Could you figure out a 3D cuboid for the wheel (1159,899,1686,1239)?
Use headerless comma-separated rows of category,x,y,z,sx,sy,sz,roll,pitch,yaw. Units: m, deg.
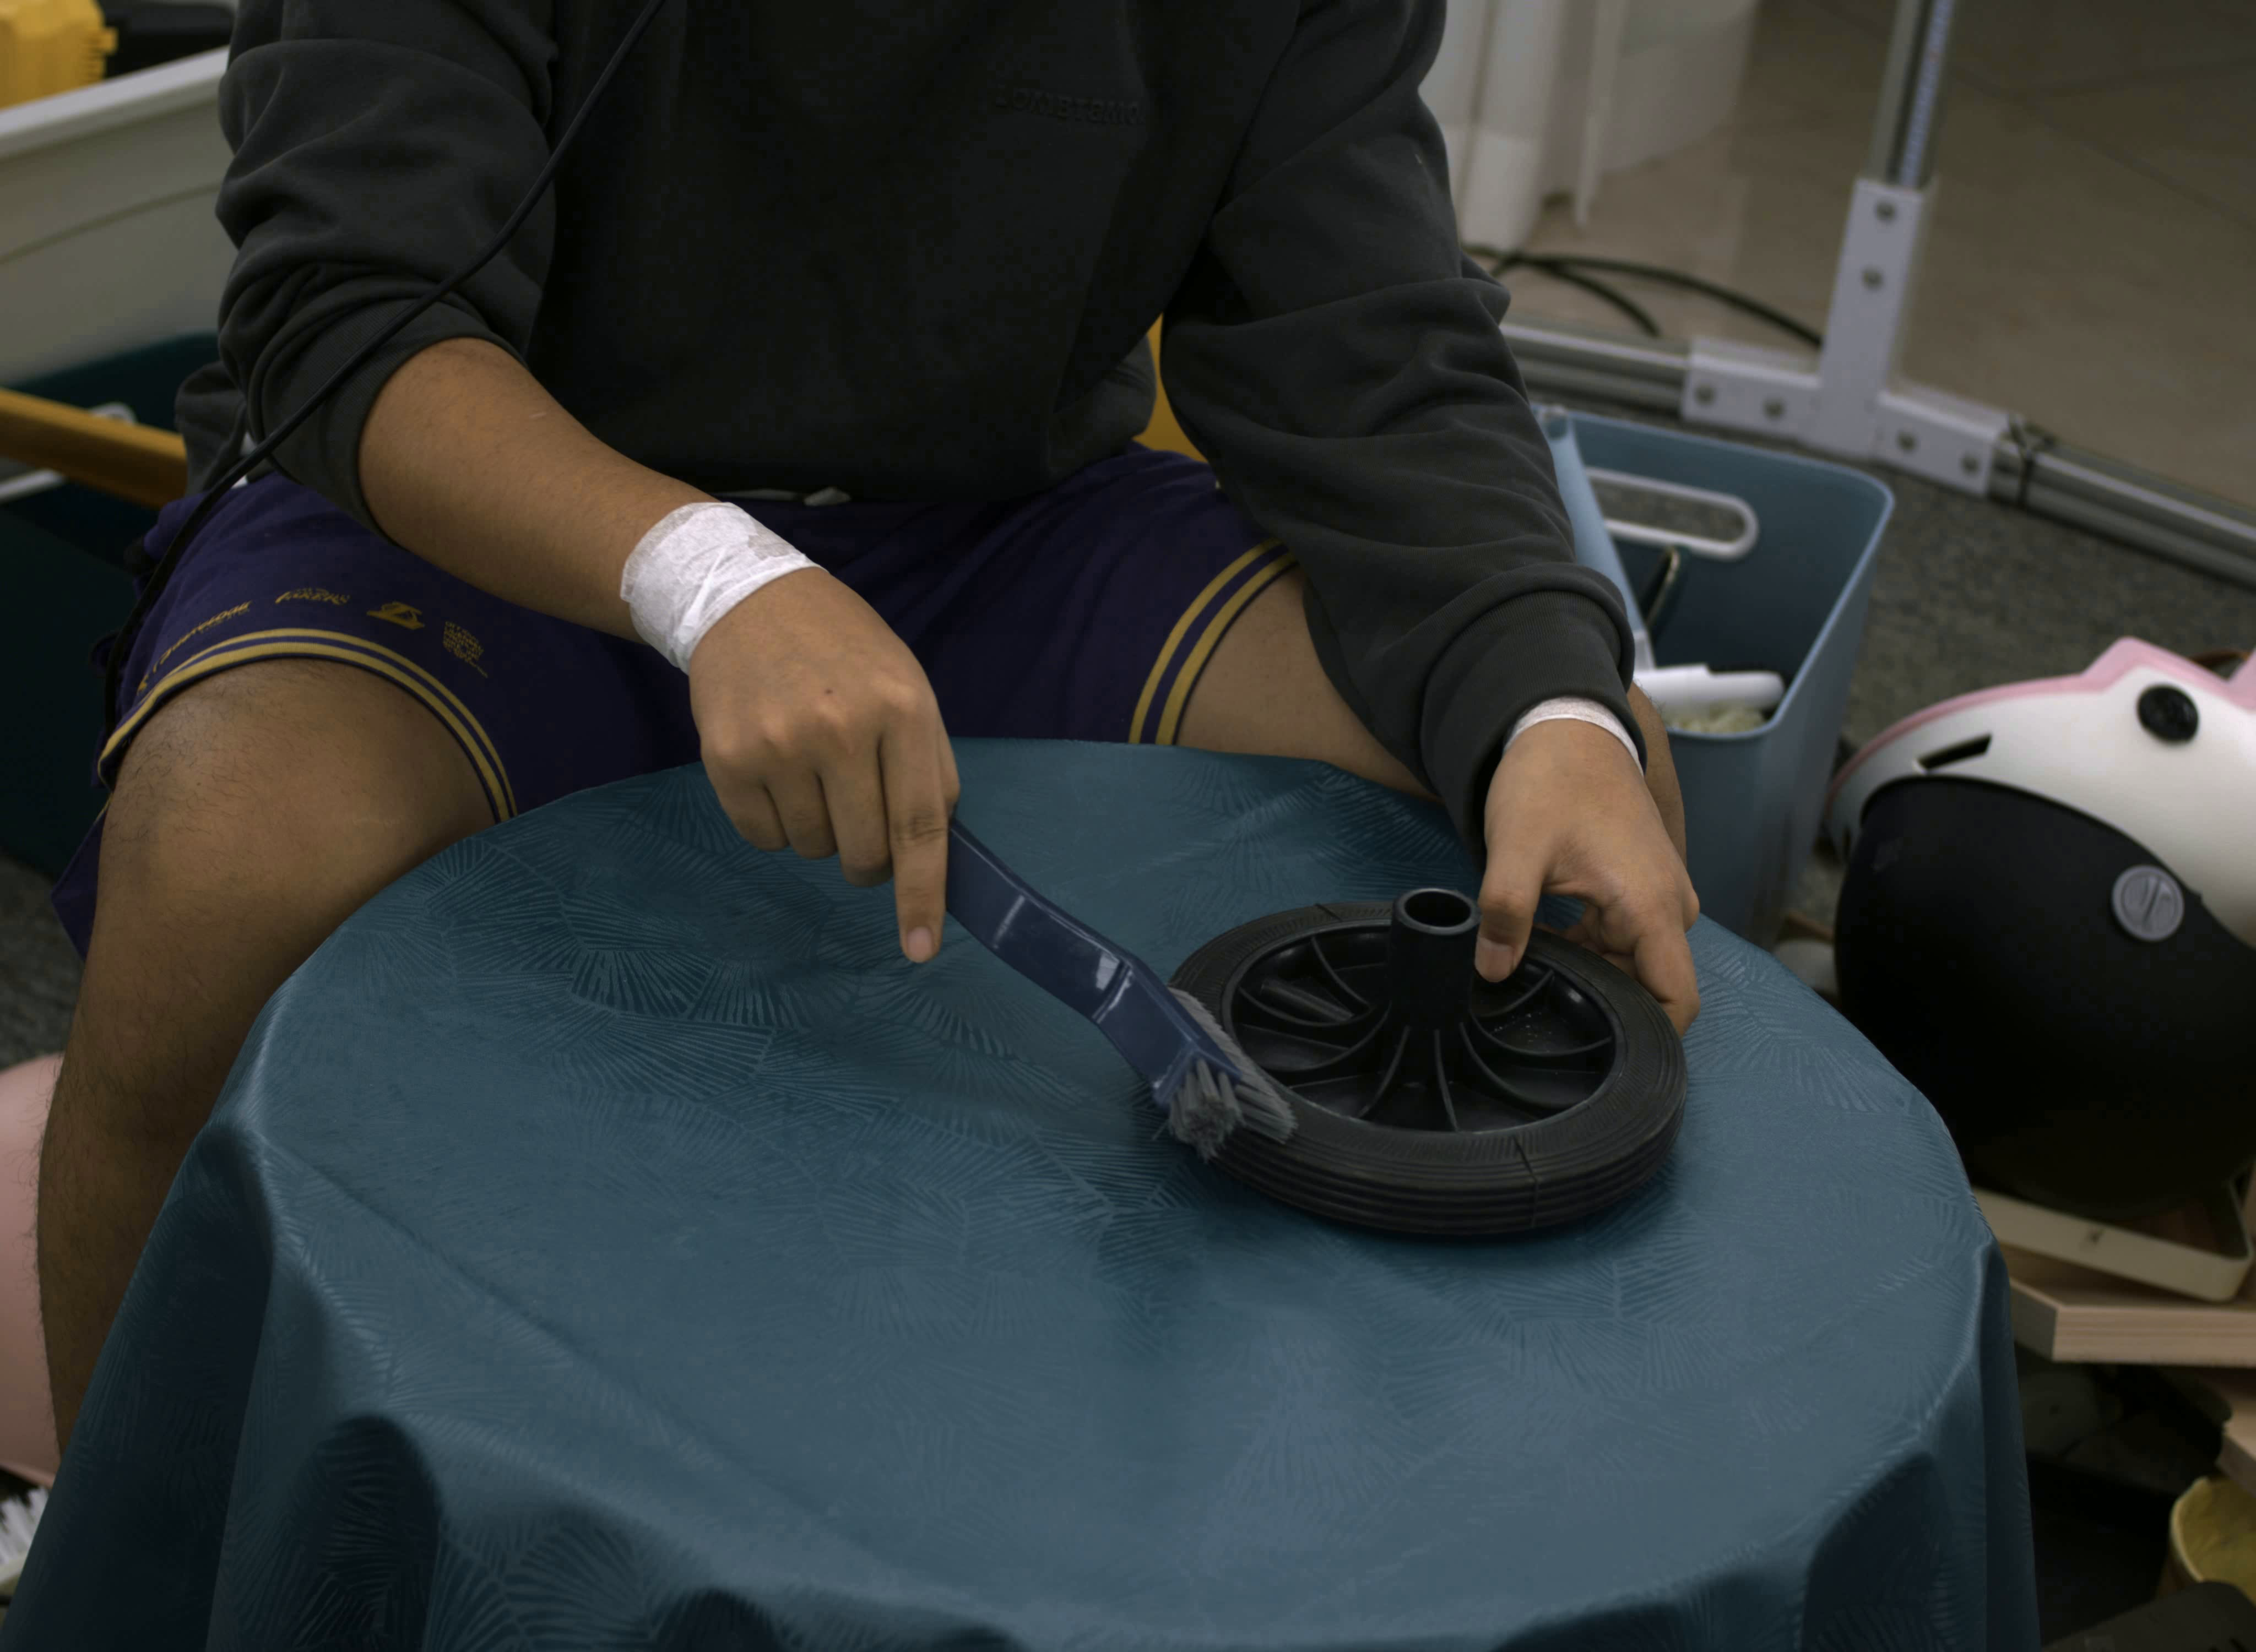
wheel,0.102,0.066,1.852,0.190,0.079,0.188,10,31,10

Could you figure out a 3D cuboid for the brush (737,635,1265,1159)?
brush,-0.054,0.021,1.829,0.275,0.033,0.095,39,18,26
